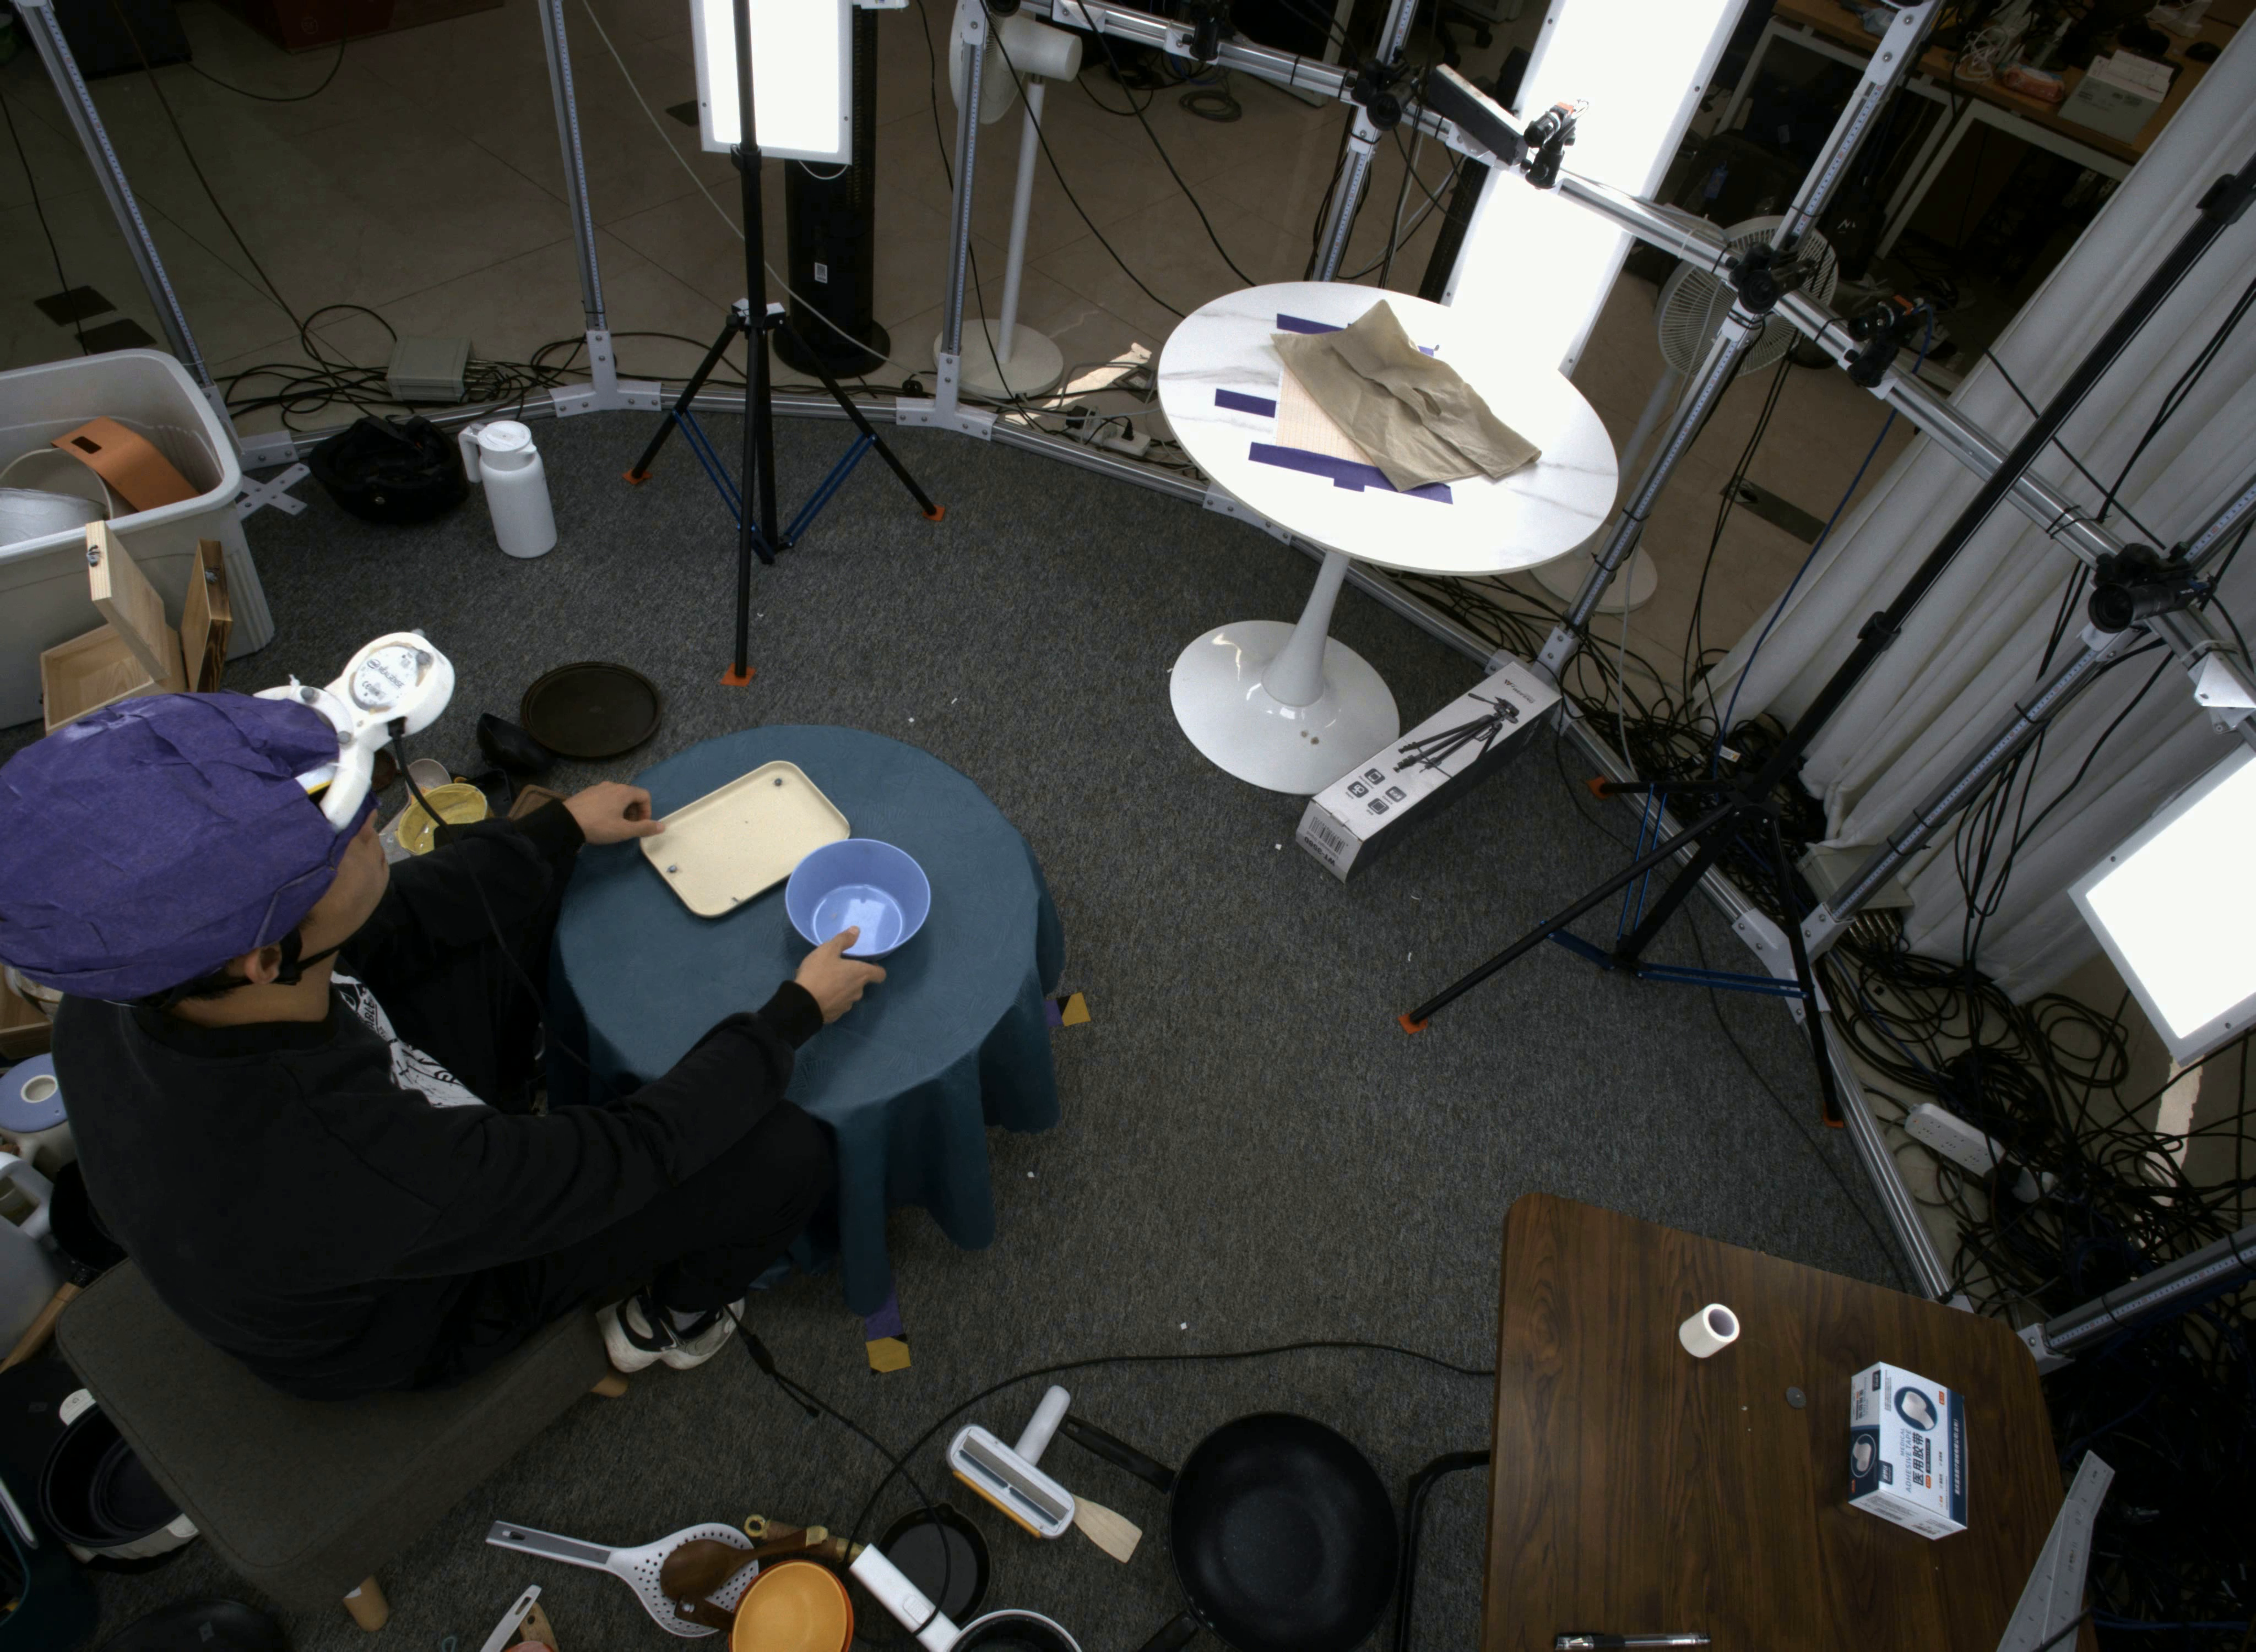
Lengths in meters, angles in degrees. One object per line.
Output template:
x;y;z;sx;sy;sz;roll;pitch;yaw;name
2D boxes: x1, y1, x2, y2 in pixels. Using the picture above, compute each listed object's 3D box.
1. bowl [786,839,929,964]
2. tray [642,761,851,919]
-0.338;0.104;1.628;0.176;0.072;0.173;8;51;-8;bowl
-0.497;0.015;1.688;0.240;0.018;0.167;-34;67;-32;tray
